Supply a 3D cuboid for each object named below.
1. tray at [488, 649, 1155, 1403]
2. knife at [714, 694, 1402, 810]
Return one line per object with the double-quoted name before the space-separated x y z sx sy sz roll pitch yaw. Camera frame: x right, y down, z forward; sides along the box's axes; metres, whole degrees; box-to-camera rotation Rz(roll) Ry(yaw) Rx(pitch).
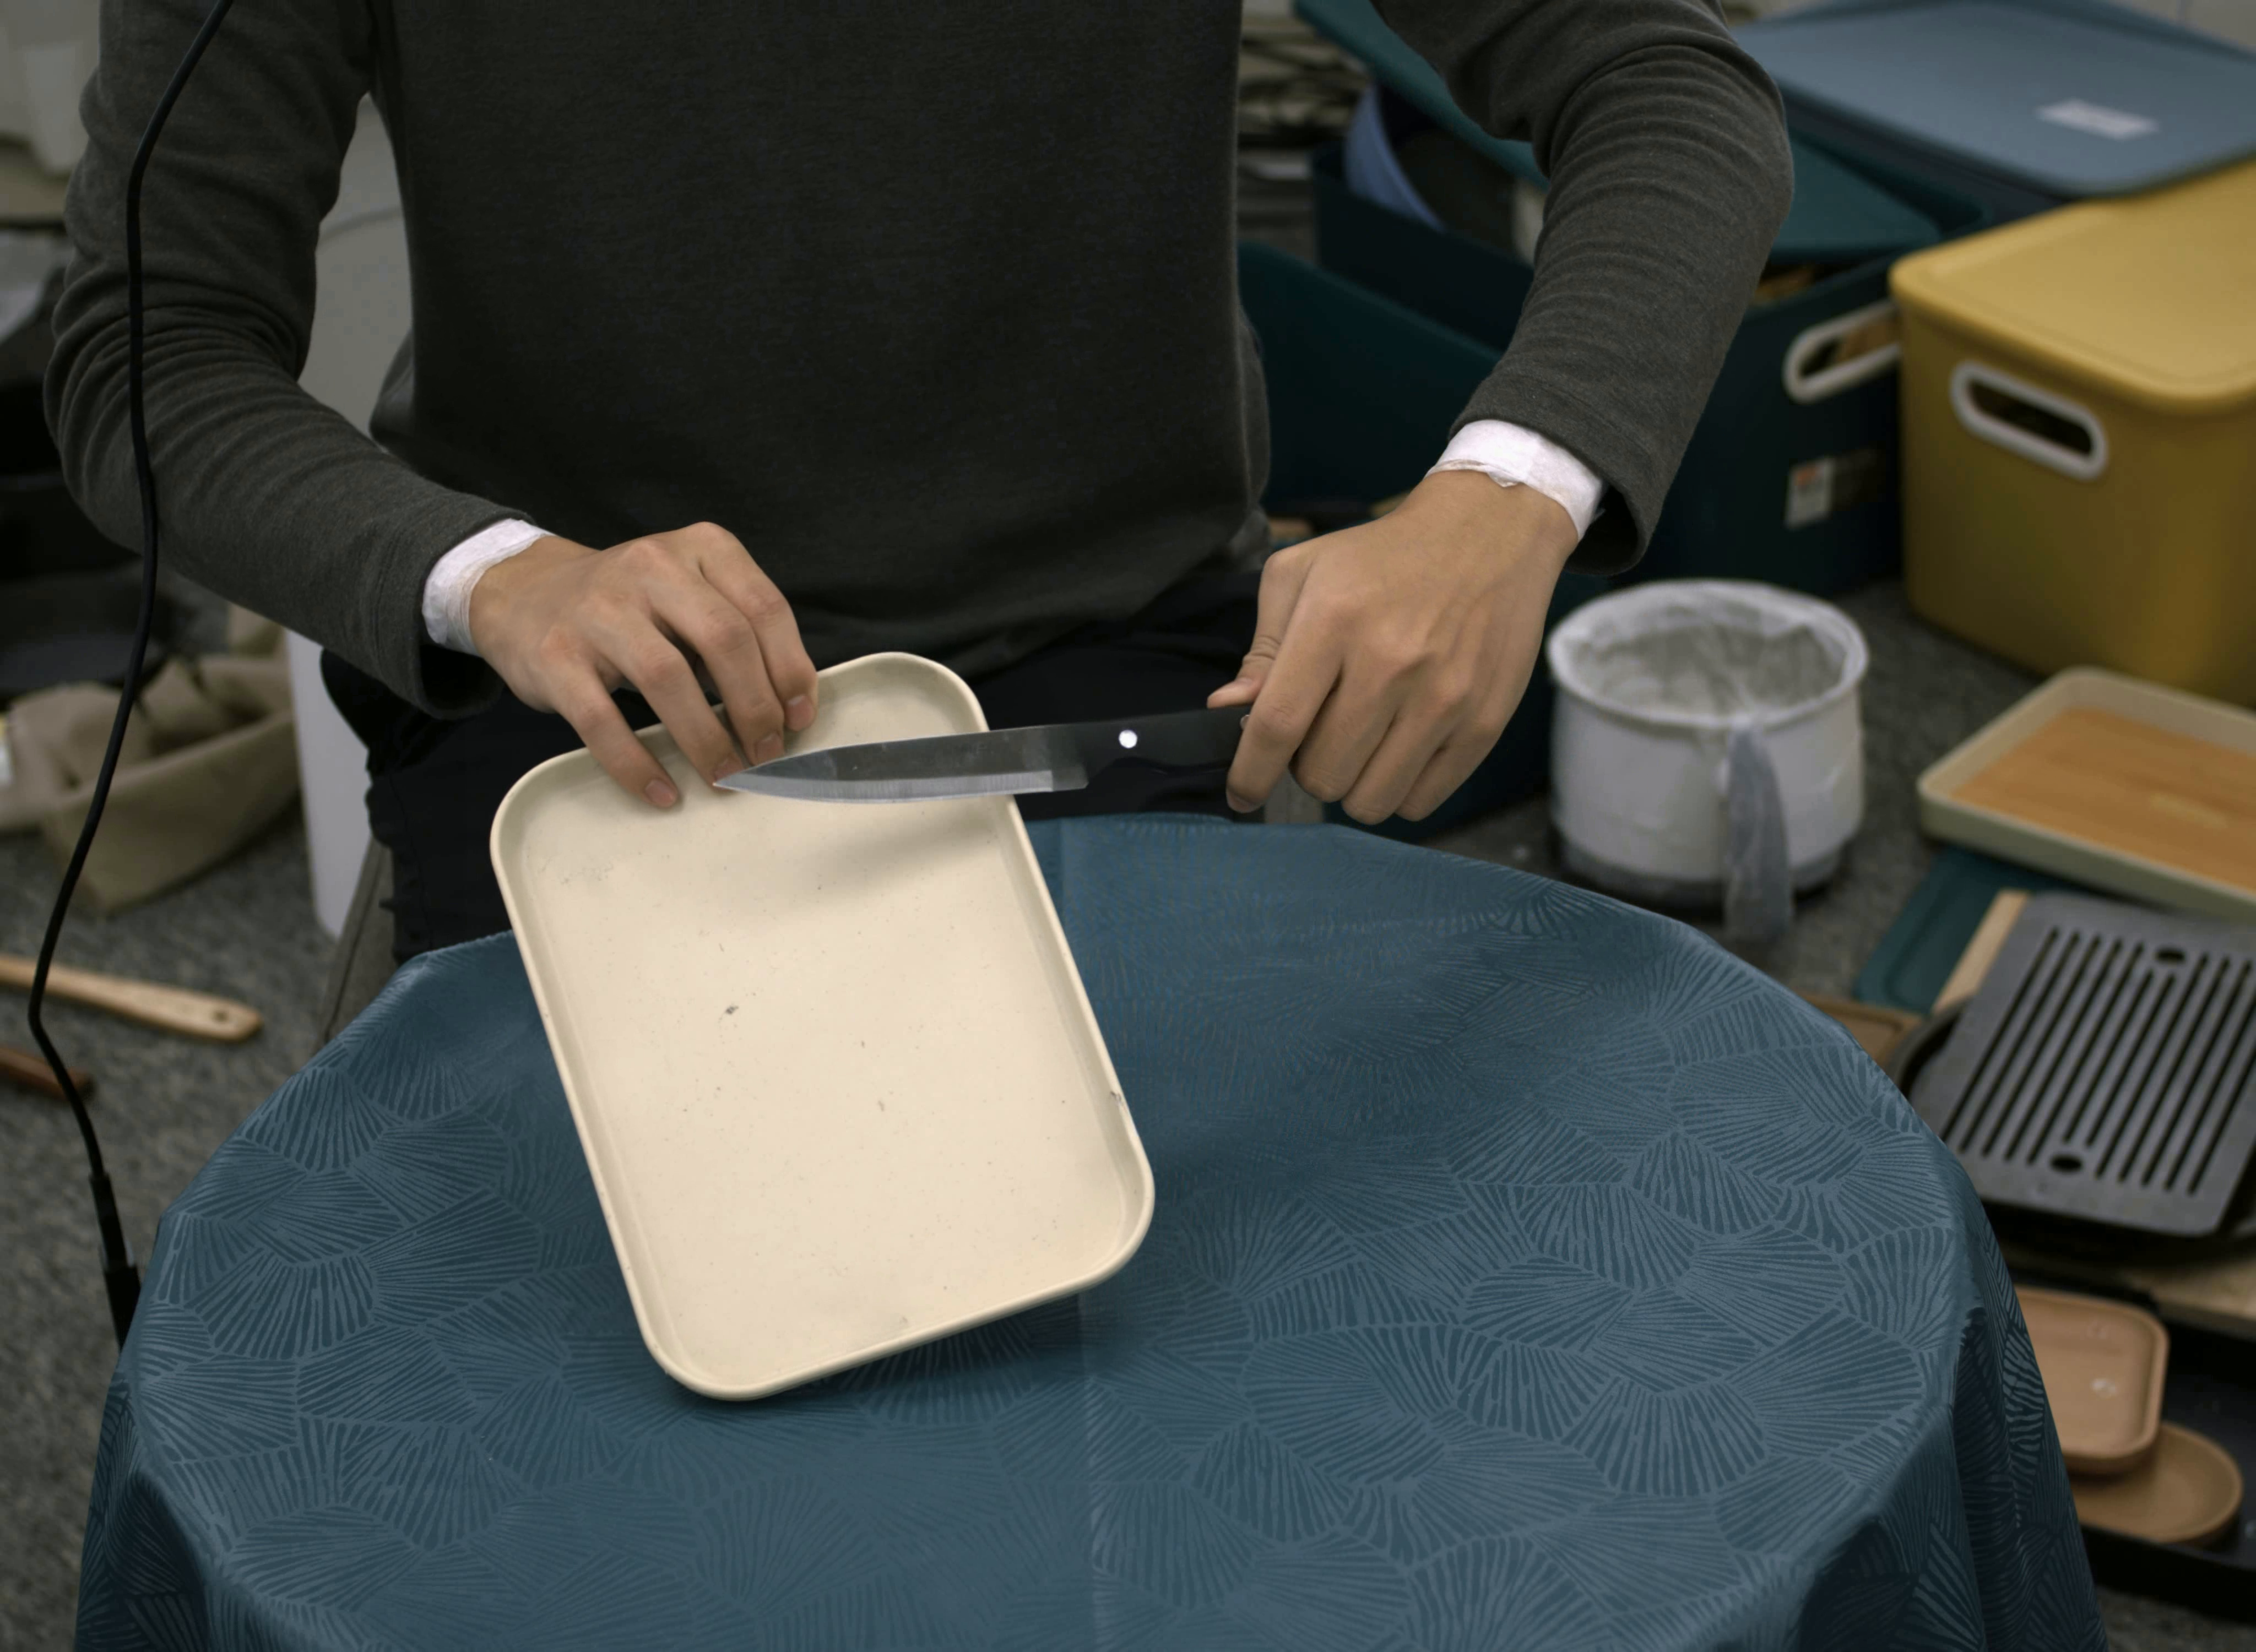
"tray" -0.100 0.063 1.817 0.171 0.017 0.243 -18 63 -6
"knife" -0.022 -0.024 1.848 0.238 0.025 0.016 -6 -14 -19
